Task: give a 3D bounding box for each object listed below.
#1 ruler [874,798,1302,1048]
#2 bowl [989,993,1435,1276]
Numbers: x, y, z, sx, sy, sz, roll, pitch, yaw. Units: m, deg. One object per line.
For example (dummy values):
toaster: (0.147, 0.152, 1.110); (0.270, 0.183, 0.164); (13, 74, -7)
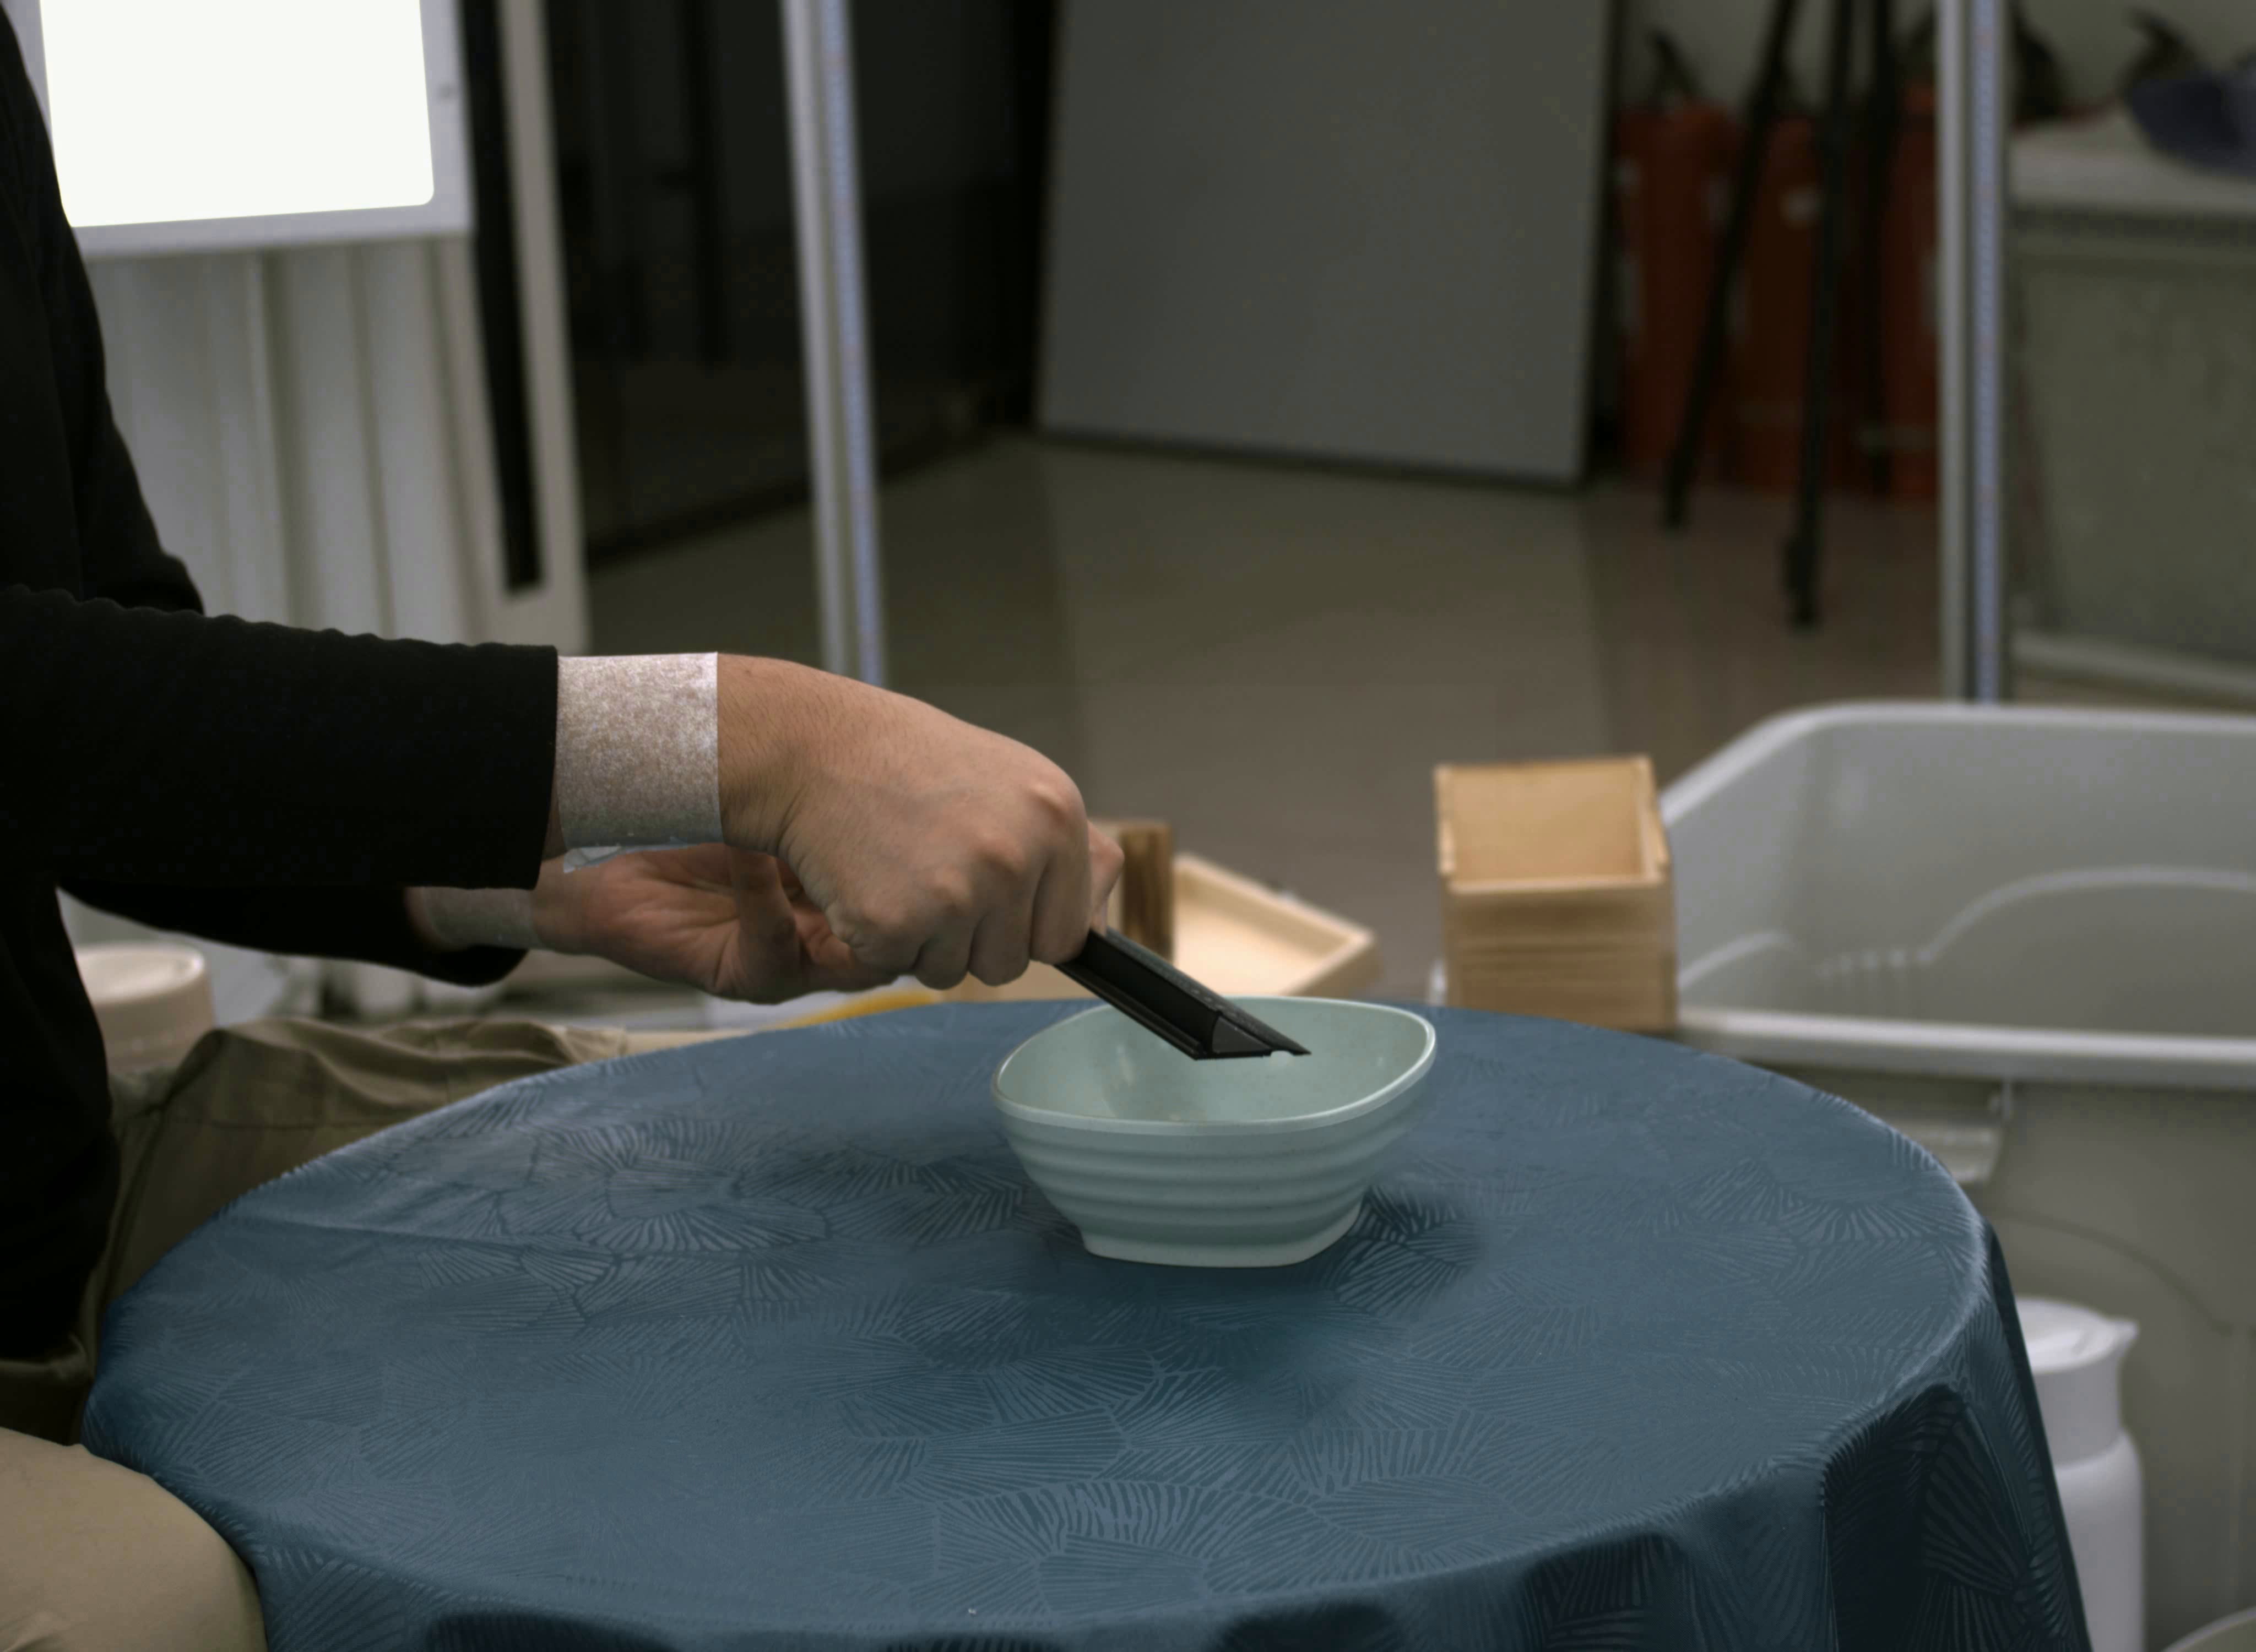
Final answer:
ruler: (-0.017, 0.028, 1.735); (0.038, 0.017, 0.315); (2, 11, -21)
bowl: (0.028, 0.102, 1.724); (0.149, 0.059, 0.152); (-3, 15, 0)
